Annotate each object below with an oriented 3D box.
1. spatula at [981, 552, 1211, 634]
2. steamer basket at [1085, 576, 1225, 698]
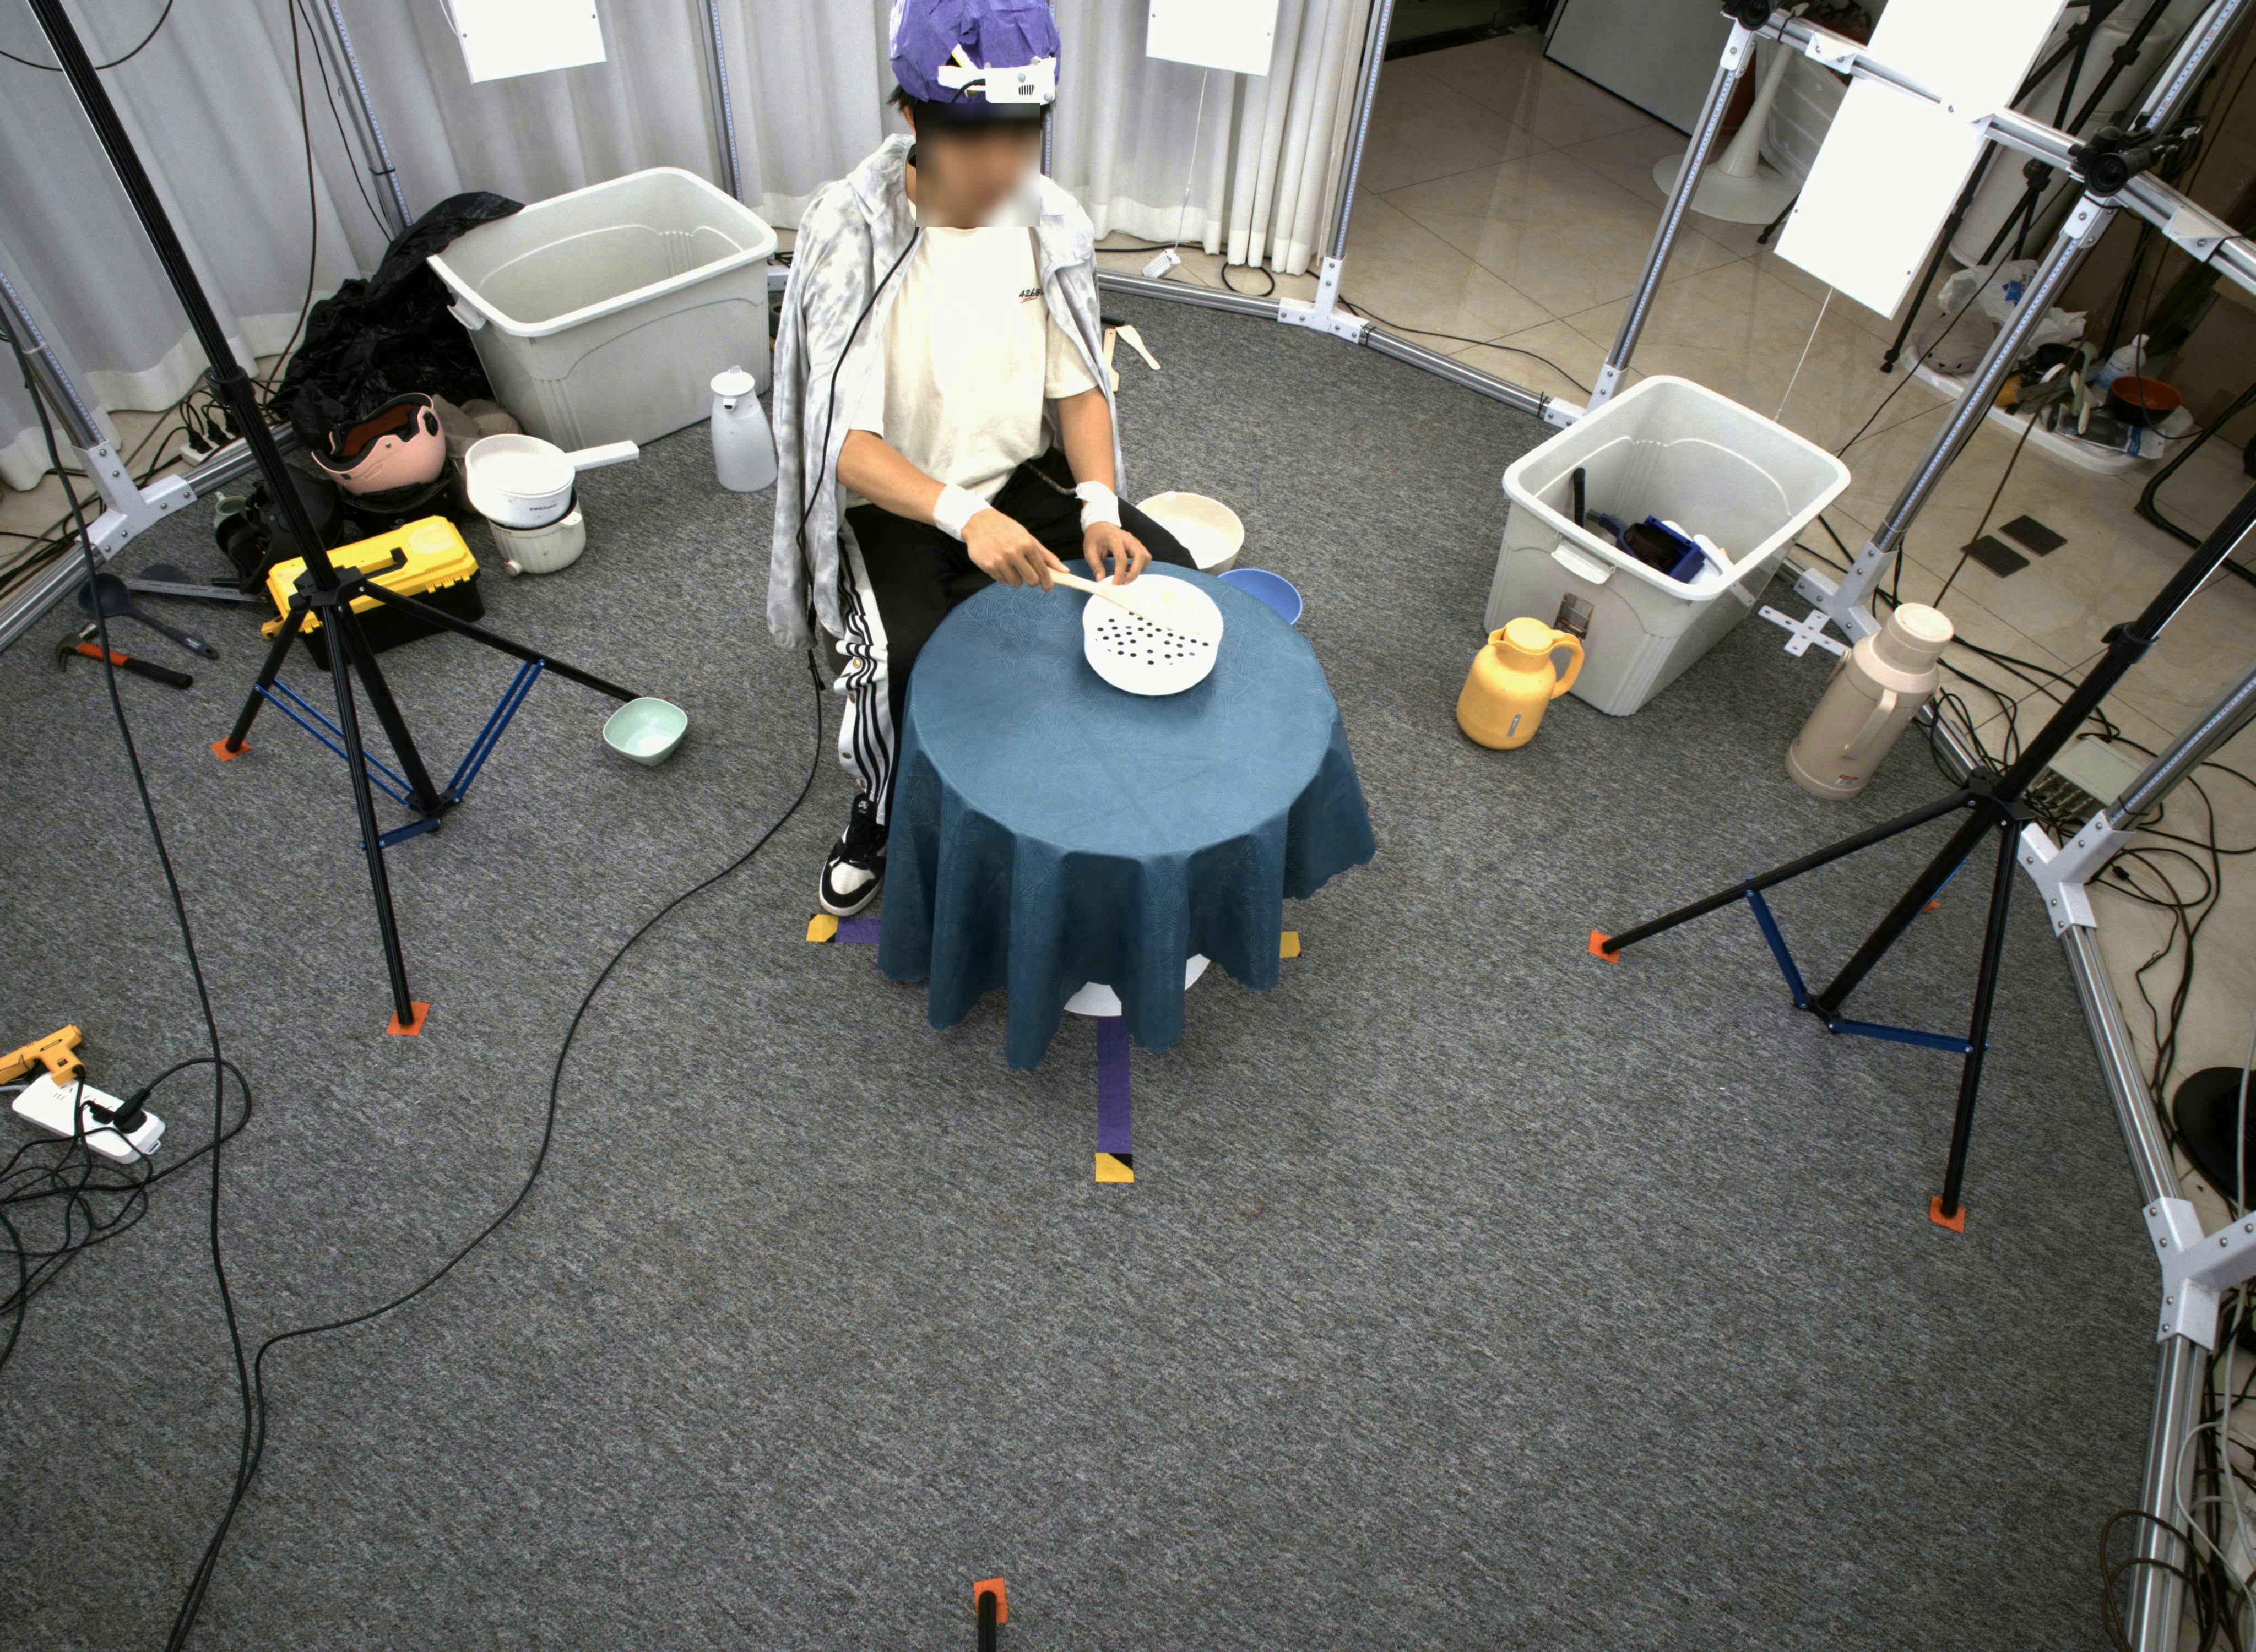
[{"bbox_3d":[-0.040,-0.329,1.765,0.326,0.016,0.082,12,59,-15],"label":"spatula"},{"bbox_3d":[0.037,-0.271,1.857,0.202,0.067,0.235,-21,52,-22],"label":"steamer basket"}]
